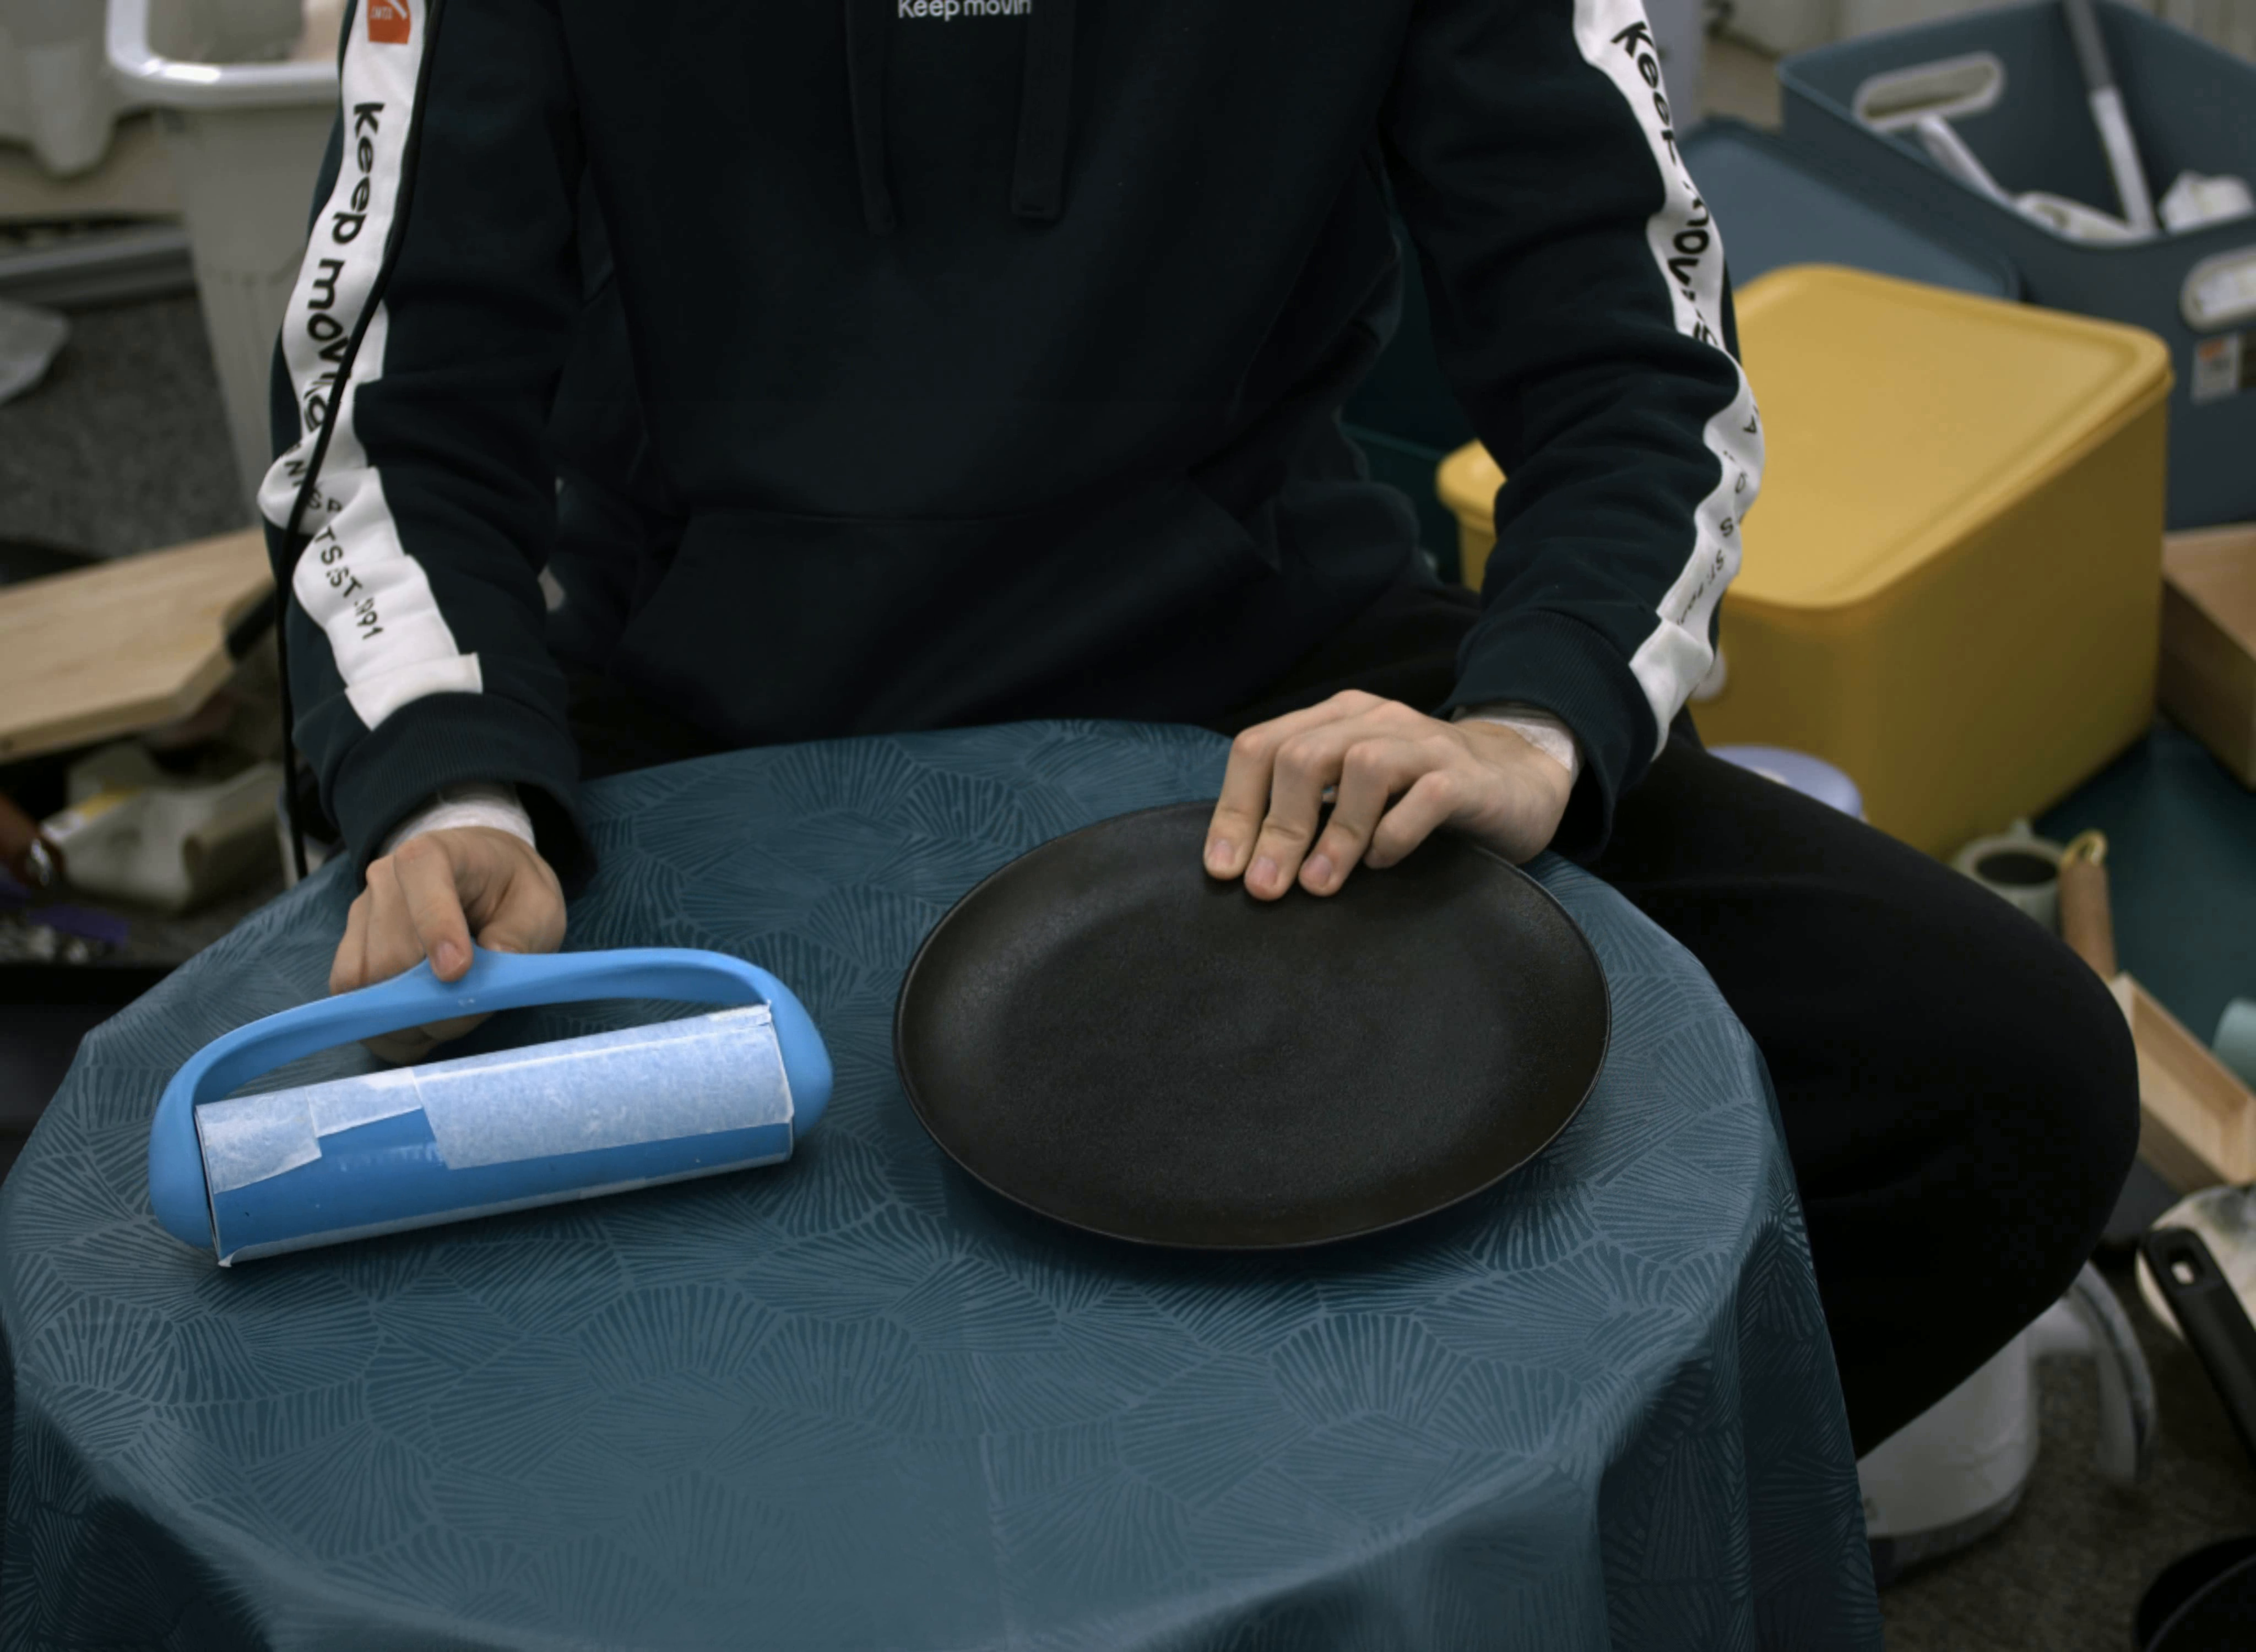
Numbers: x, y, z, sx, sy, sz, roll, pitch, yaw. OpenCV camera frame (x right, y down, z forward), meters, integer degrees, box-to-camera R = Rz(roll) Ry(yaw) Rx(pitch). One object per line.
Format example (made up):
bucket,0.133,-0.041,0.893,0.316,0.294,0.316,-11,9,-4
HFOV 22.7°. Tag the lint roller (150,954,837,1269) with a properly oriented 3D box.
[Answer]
lint roller,-0.226,0.078,1.907,0.229,0.067,0.182,-12,27,-15

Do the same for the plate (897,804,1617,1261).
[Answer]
plate,0.043,0.072,1.899,0.243,0.023,0.249,-1,36,1
